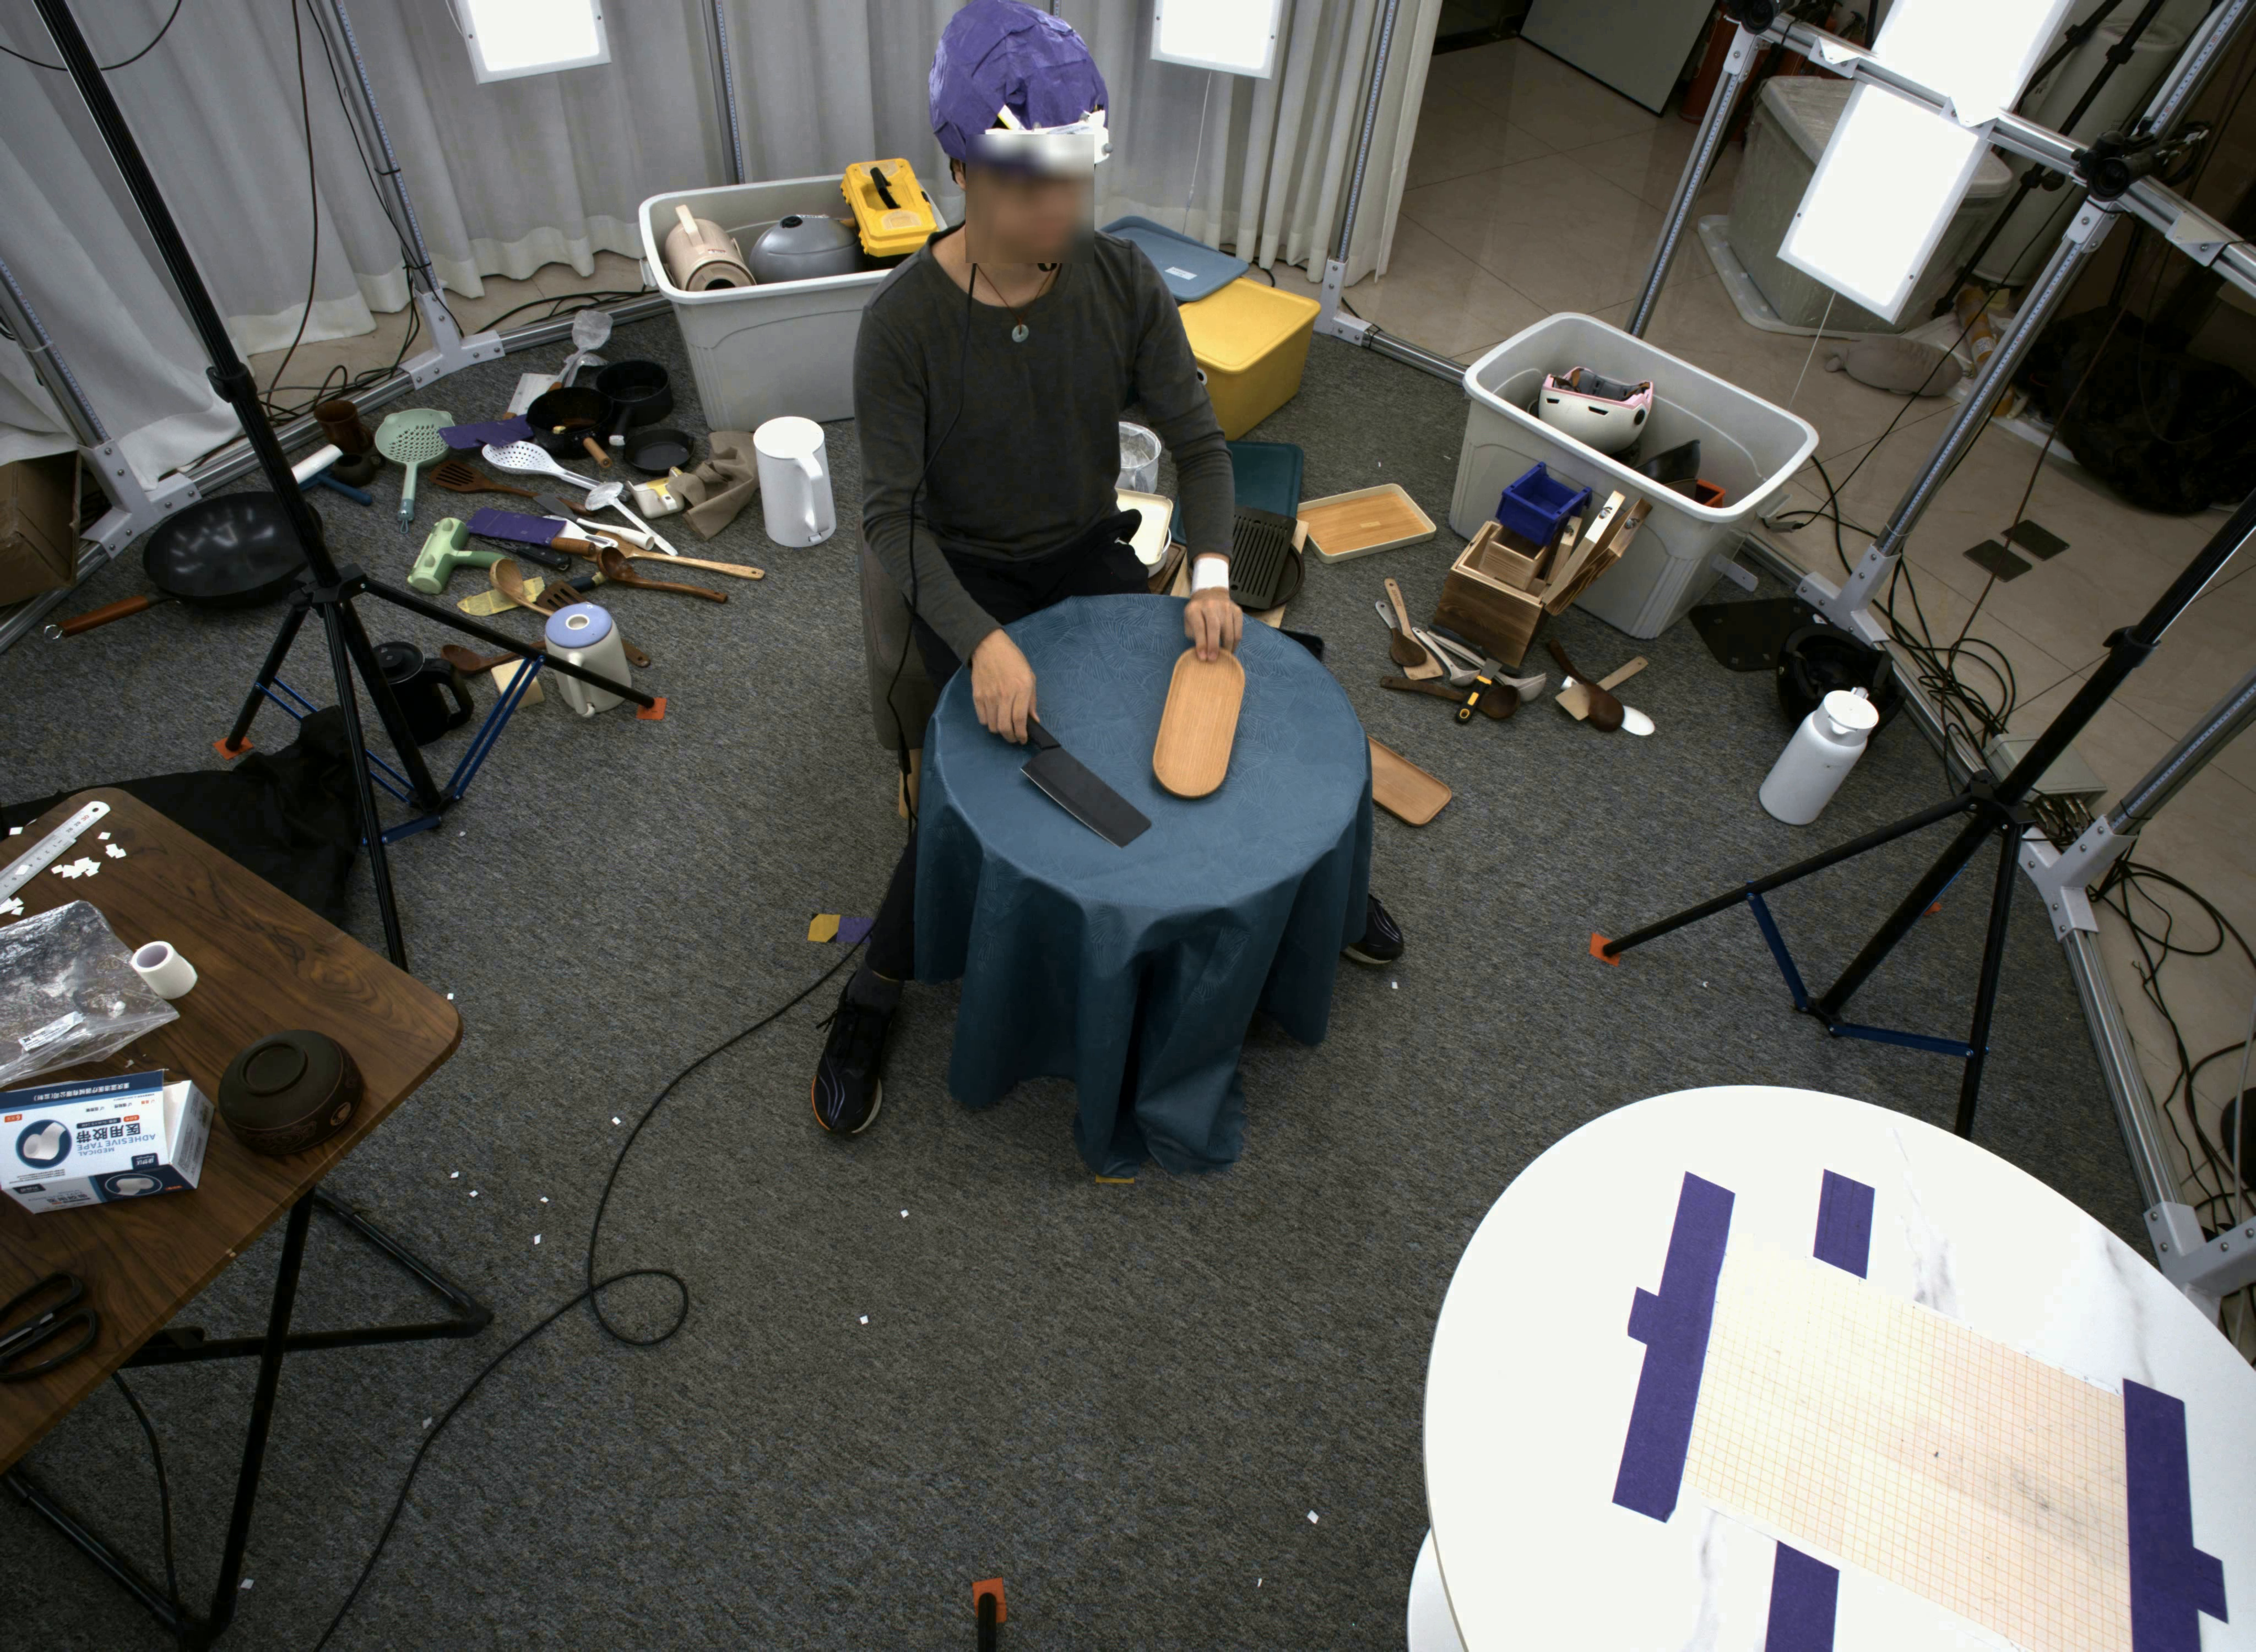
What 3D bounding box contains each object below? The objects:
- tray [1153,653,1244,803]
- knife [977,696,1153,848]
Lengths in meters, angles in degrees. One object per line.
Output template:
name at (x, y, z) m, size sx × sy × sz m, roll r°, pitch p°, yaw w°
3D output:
tray at (0.097, -0.135, 1.745) m, size 0.102 × 0.020 × 0.235 m, roll 12°, pitch 65°, yaw 2°
knife at (-0.094, -0.077, 1.708) m, size 0.081 × 0.020 × 0.306 m, roll -34°, pitch 64°, yaw -28°
